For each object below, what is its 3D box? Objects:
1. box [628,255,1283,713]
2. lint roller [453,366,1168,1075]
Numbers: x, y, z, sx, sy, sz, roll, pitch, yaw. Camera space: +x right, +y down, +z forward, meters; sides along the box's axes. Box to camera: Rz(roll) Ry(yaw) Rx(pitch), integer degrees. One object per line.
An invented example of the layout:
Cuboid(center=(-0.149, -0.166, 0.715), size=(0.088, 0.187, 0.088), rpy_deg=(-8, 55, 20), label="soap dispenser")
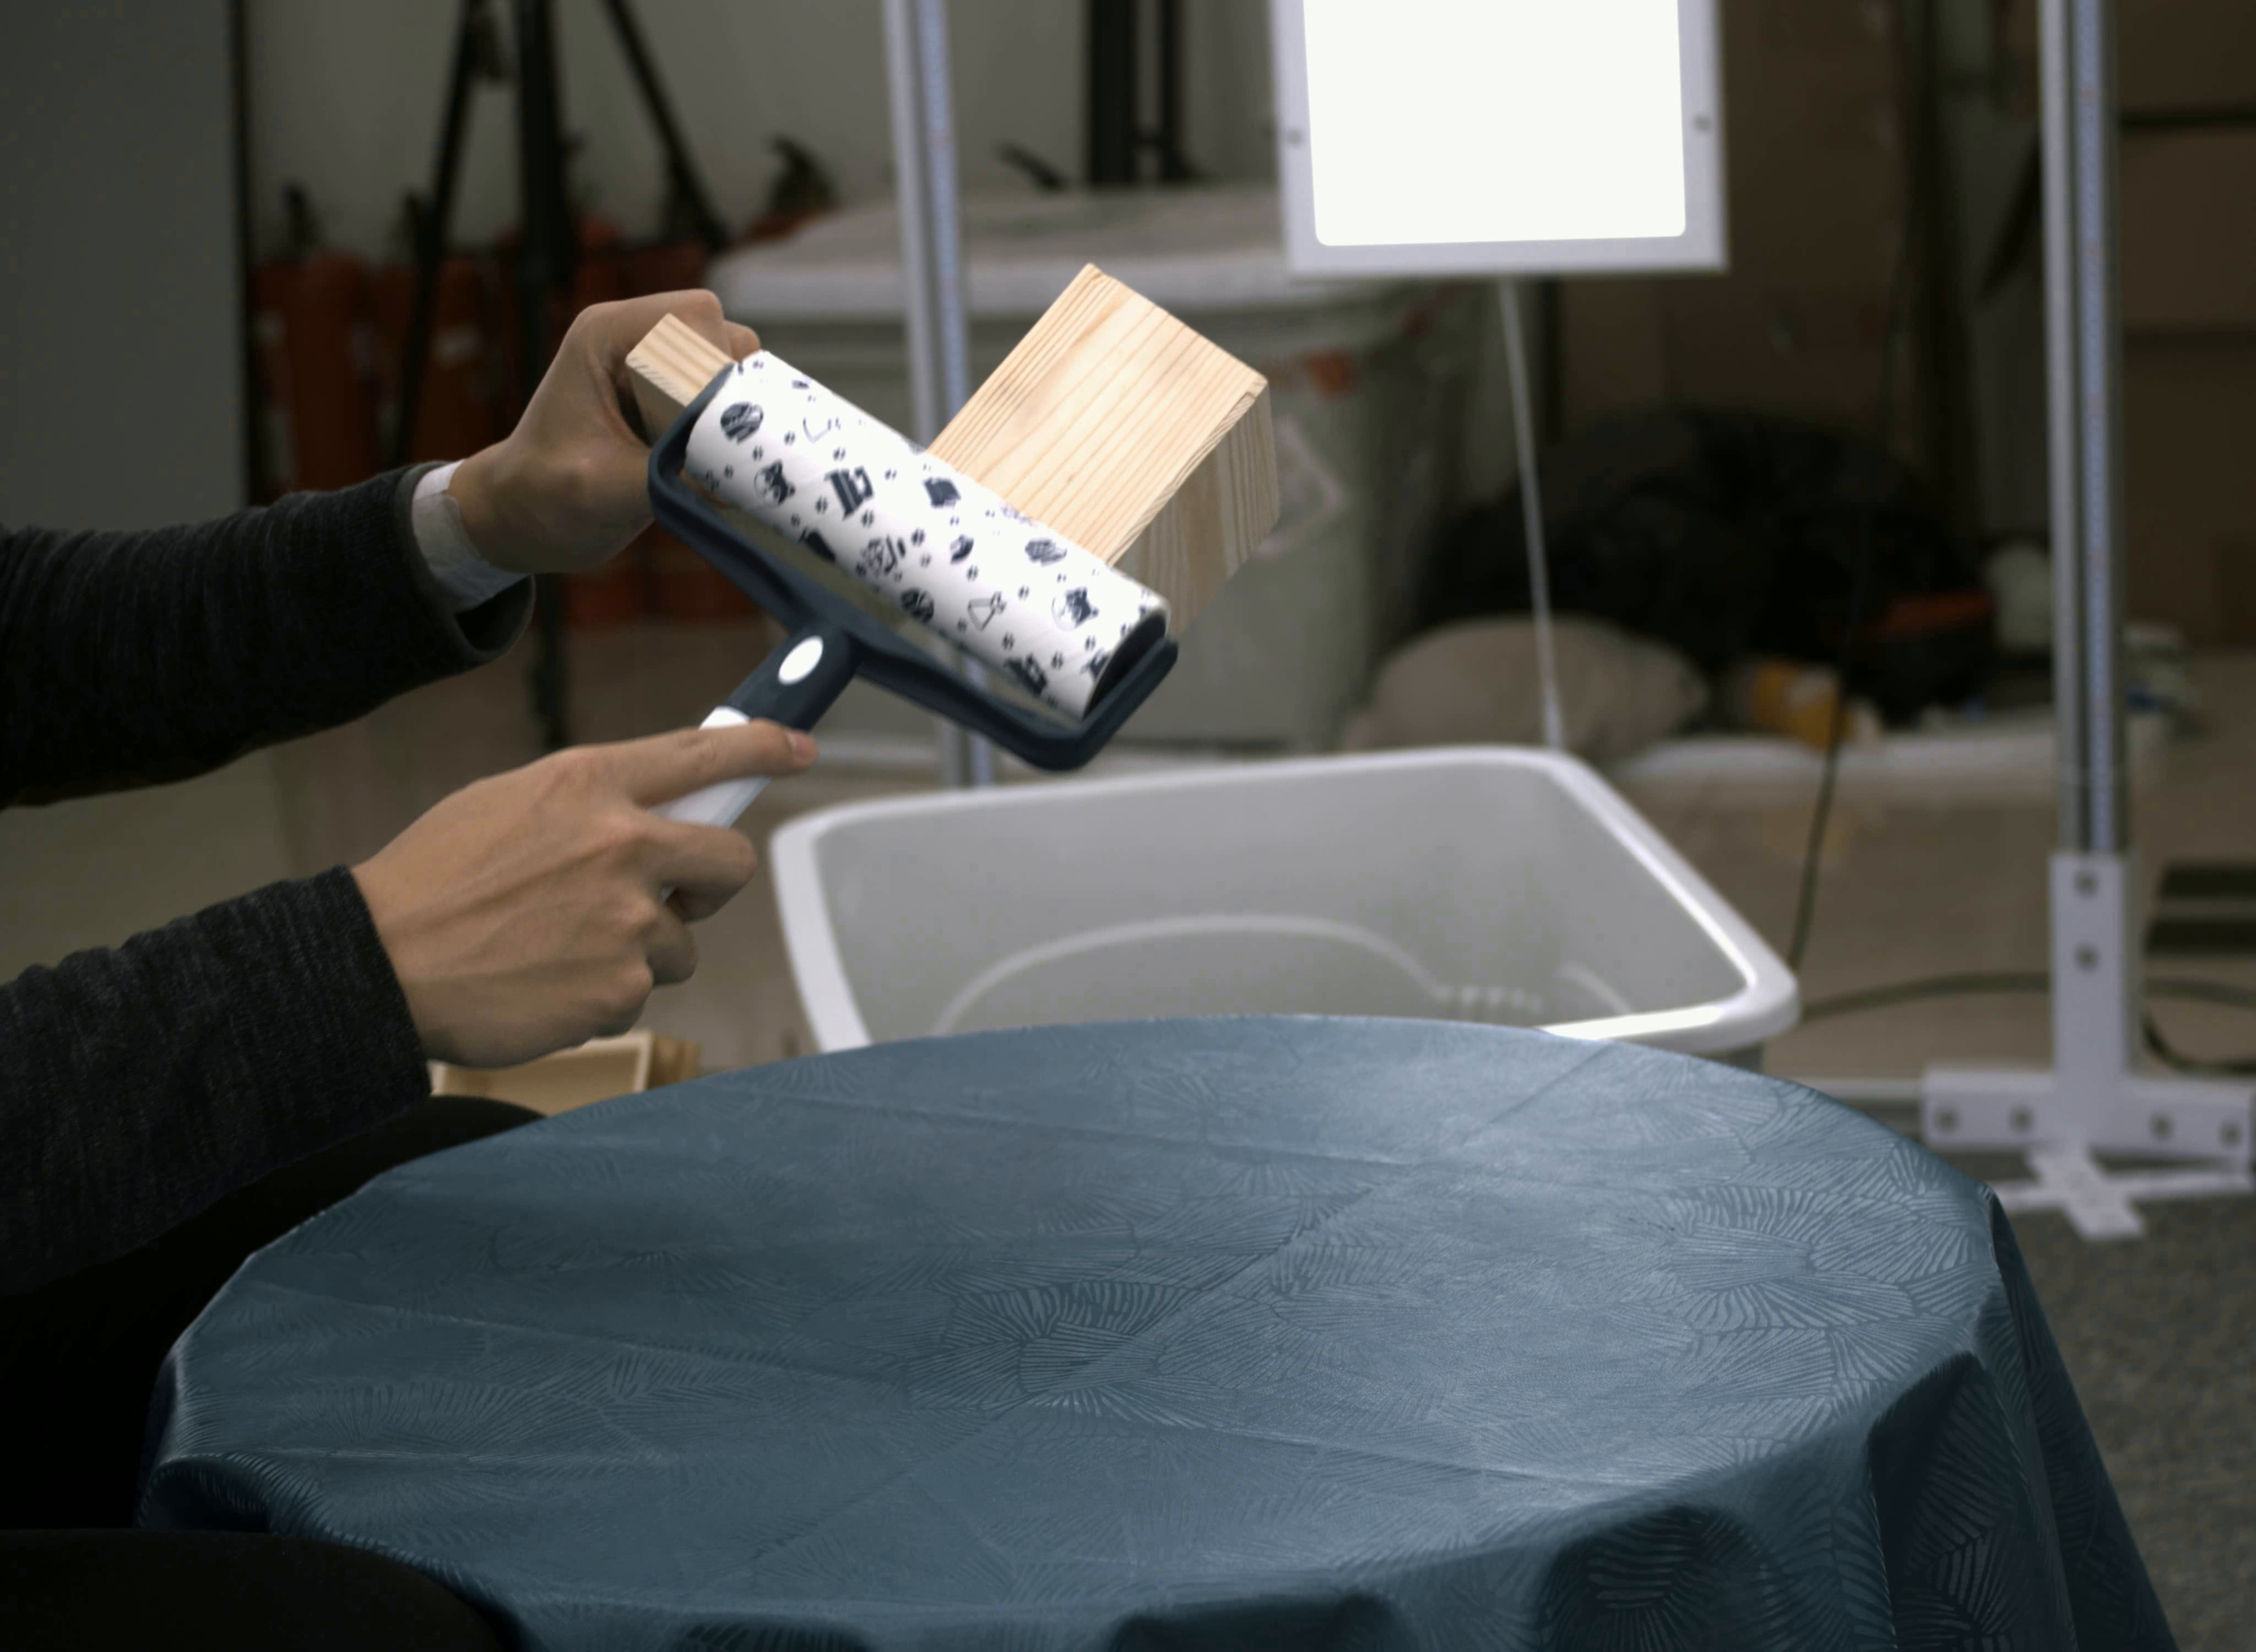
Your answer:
Cuboid(center=(-0.057, -0.136, 1.876), size=(0.186, 0.102, 0.133), rpy_deg=(34, 74, 18), label="box")
Cuboid(center=(-0.124, -0.018, 1.709), size=(0.178, 0.050, 0.243), rpy_deg=(33, 64, 16), label="lint roller")
